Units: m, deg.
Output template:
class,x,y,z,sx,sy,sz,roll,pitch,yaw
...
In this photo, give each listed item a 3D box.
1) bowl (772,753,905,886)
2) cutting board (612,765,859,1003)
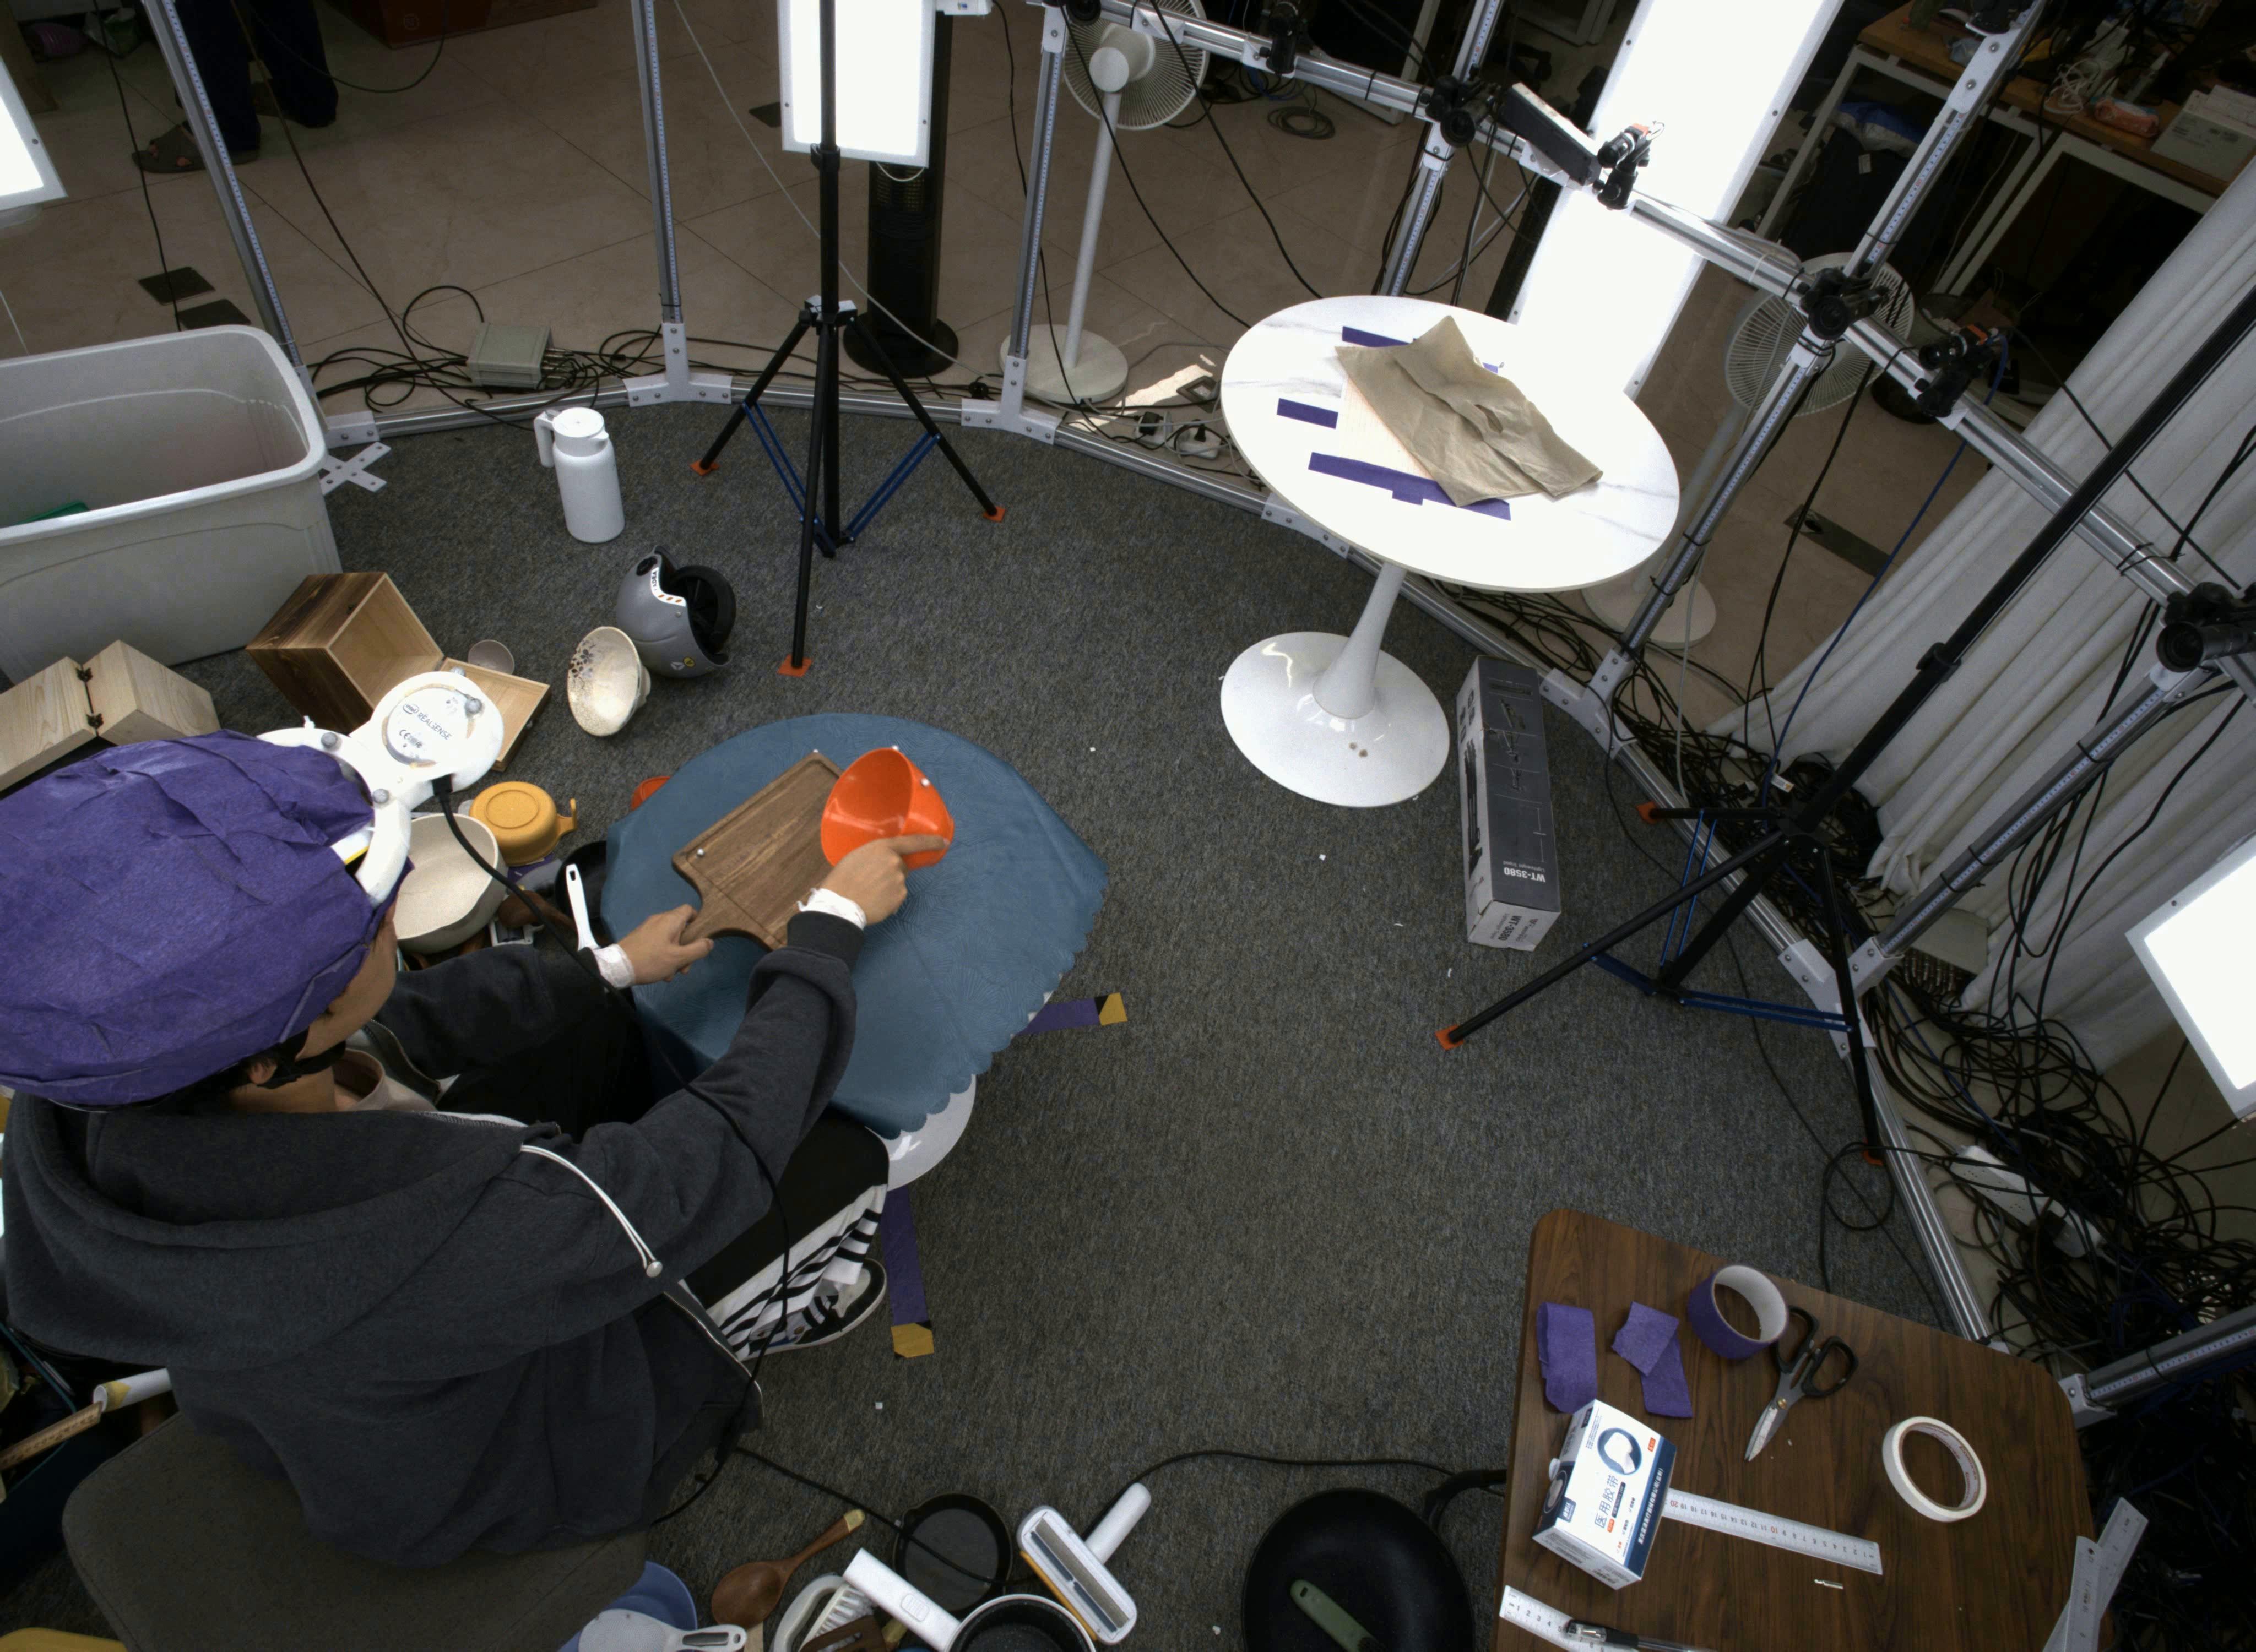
class,x,y,z,sx,sy,sz,roll,pitch,yaw
bowl,-0.313,0.003,1.438,0.108,0.147,0.144,22,42,-38
cutting board,-0.484,0.081,1.540,0.199,0.023,0.351,37,52,6
